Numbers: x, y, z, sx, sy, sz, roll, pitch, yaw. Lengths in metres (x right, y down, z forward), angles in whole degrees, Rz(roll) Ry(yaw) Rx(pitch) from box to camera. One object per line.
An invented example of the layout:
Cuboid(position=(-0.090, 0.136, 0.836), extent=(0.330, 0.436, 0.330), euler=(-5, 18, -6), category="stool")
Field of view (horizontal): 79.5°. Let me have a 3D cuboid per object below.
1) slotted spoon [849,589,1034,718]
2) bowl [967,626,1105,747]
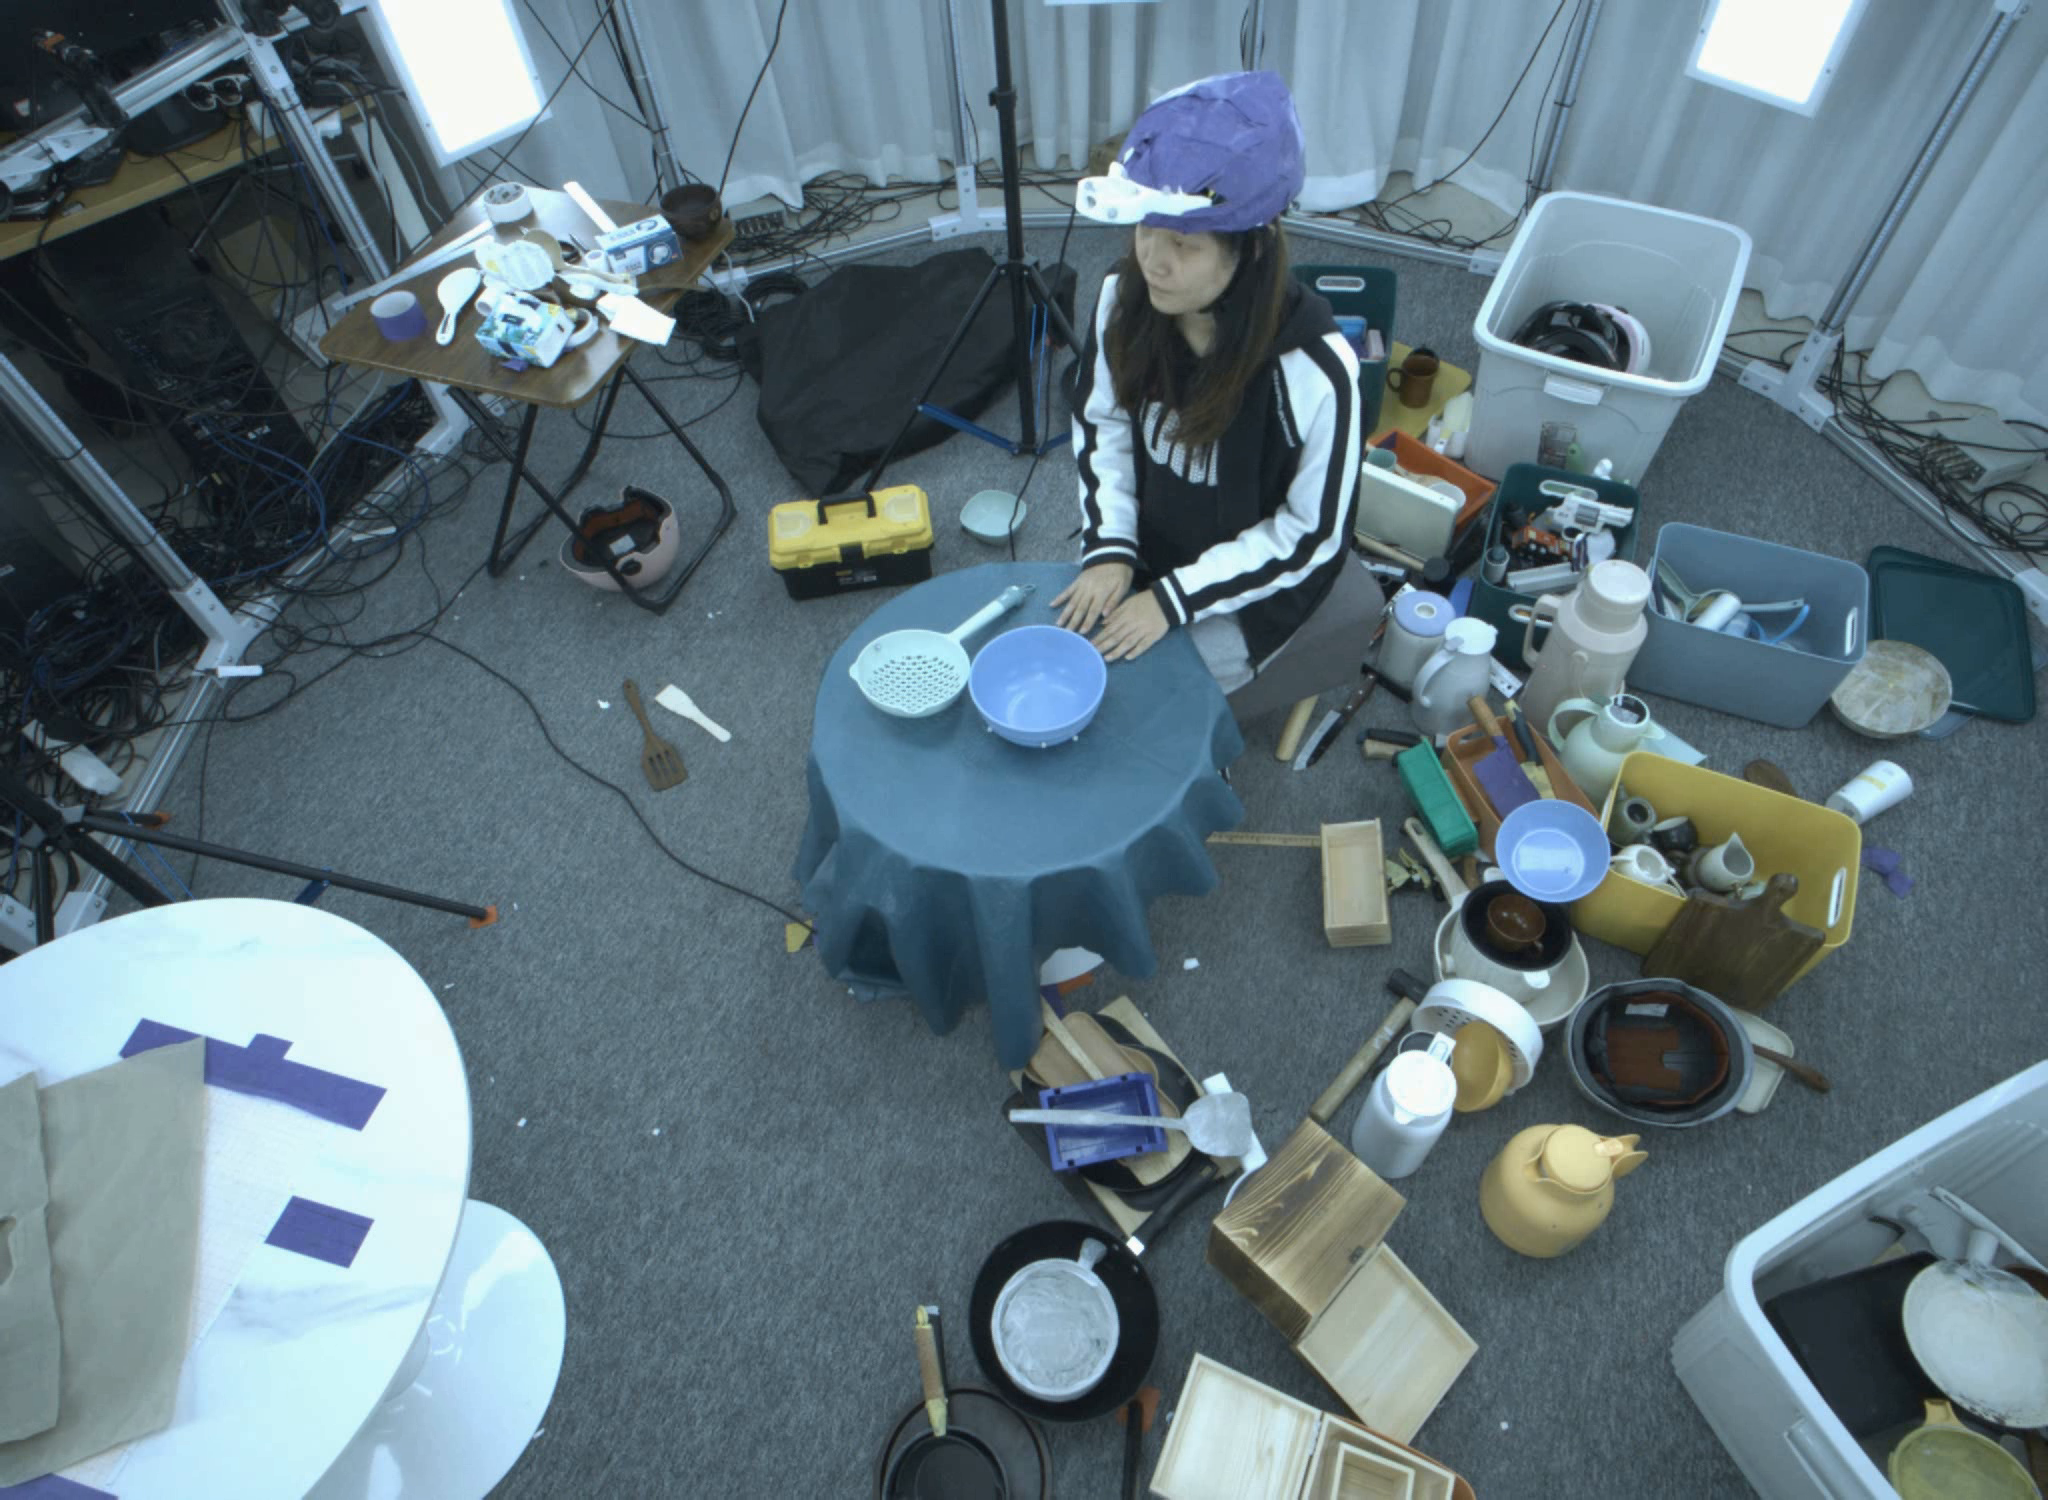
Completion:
Cuboid(position=(-0.104, -0.165, 1.872), extent=(0.166, 0.076, 0.361), euler=(33, 61, 22), category="slotted spoon")
Cuboid(position=(0.020, -0.077, 1.784), extent=(0.196, 0.096, 0.194), euler=(-1, 54, 2), category="bowl")
